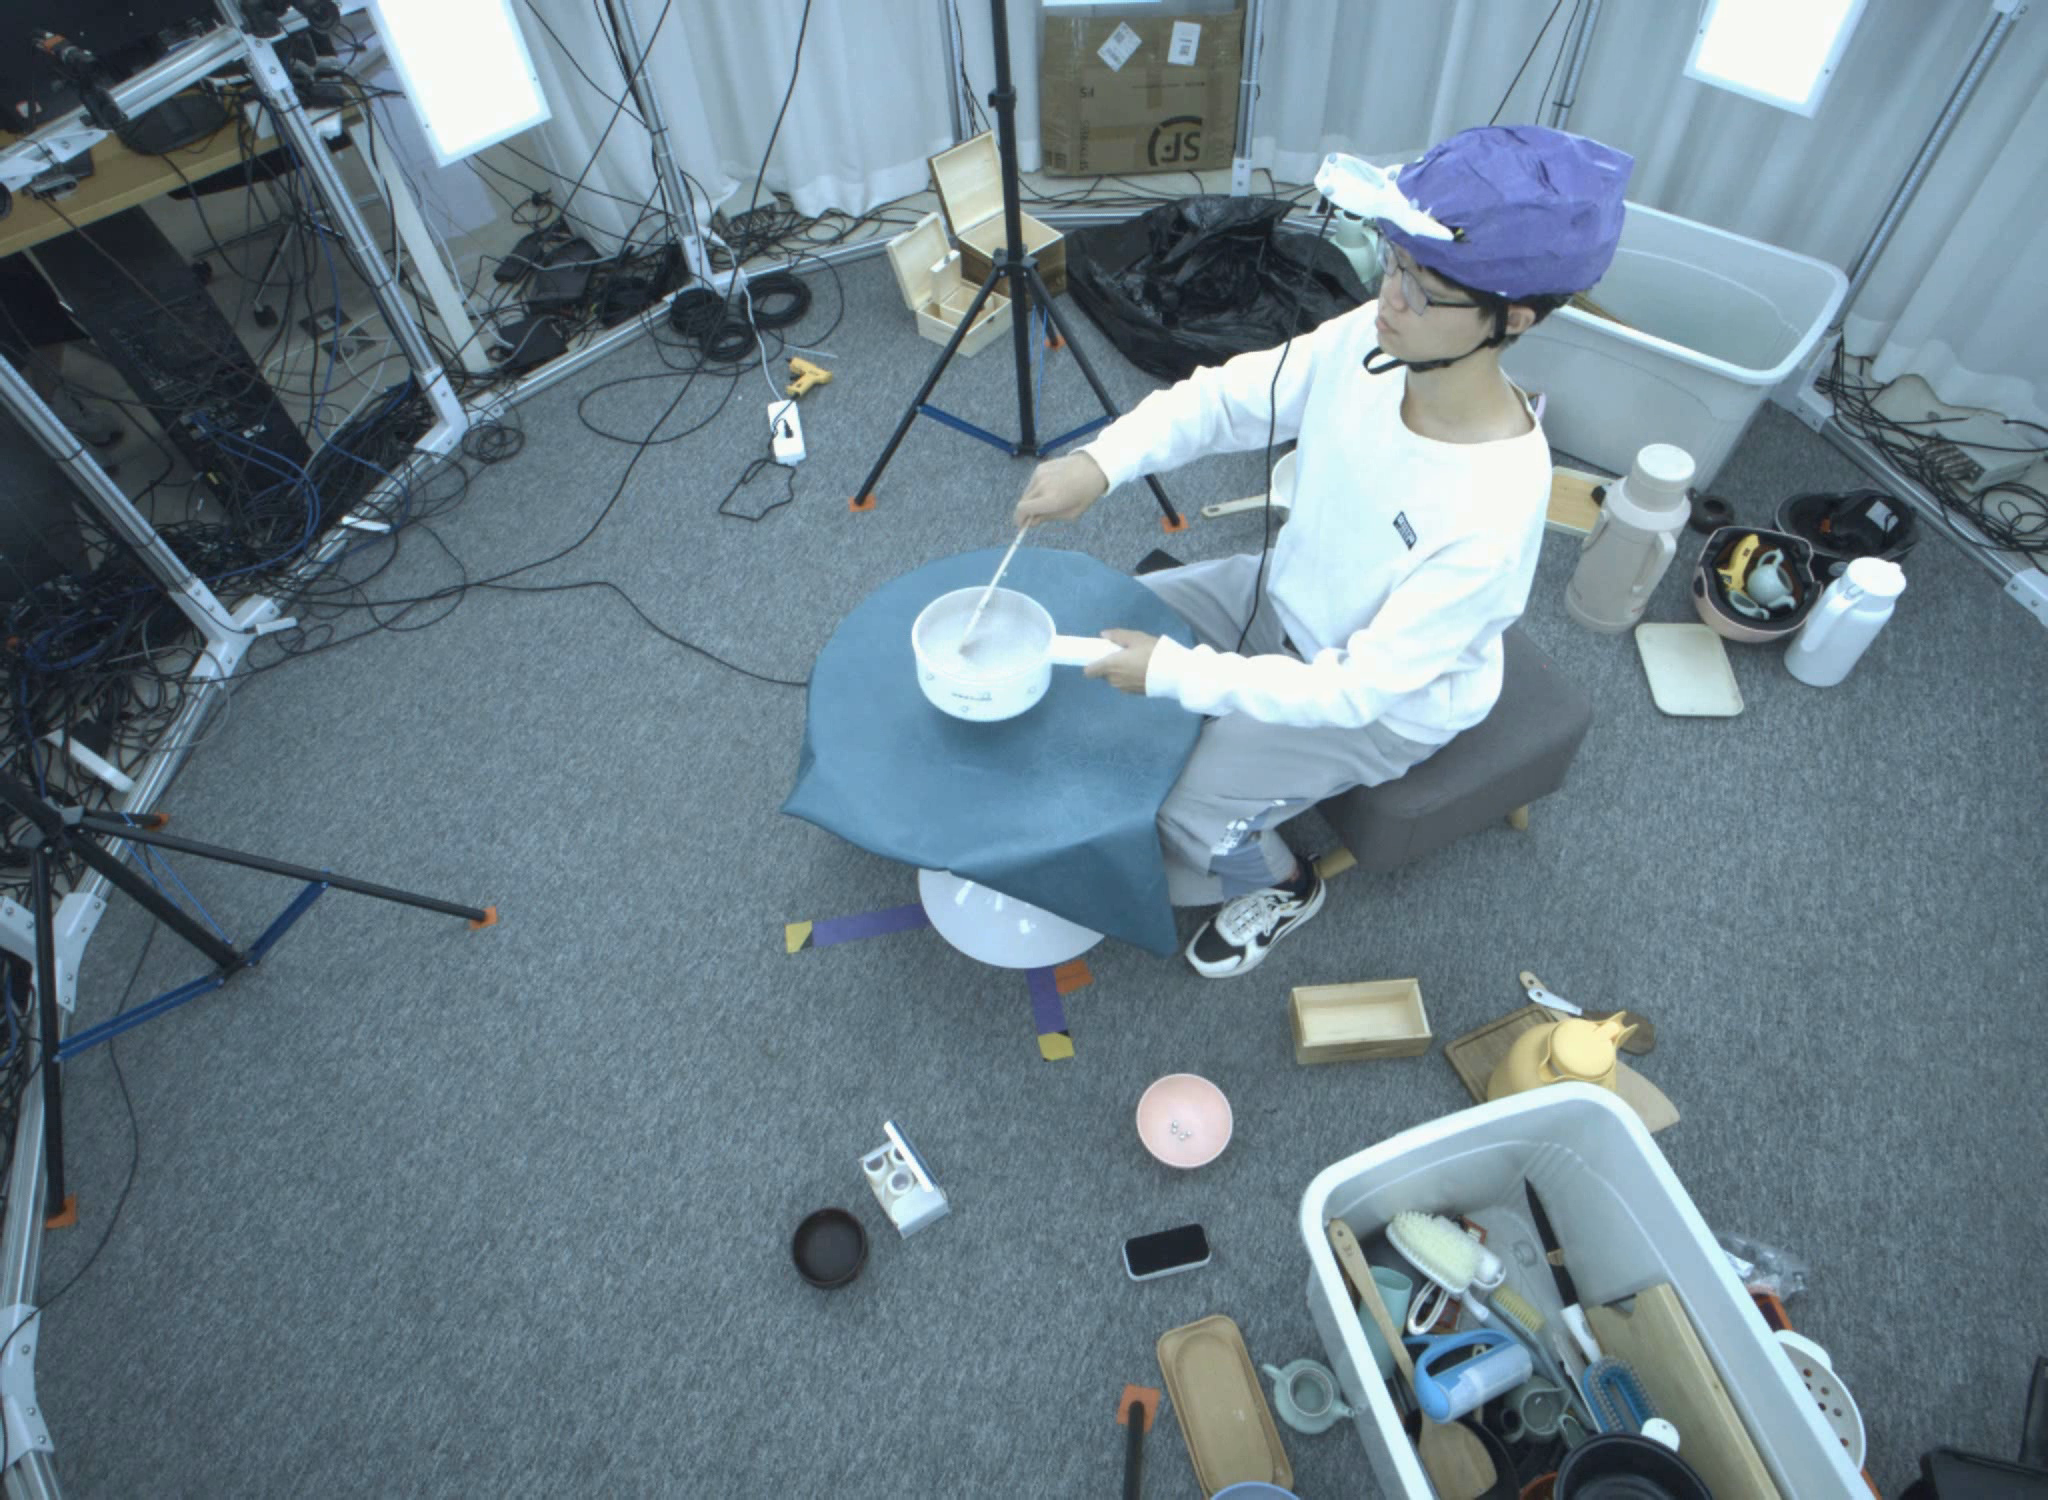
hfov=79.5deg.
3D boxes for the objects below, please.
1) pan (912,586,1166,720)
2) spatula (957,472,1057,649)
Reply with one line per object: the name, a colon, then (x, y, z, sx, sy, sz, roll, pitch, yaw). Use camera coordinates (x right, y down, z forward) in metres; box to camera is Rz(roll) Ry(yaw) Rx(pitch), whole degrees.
pan: (0.020, -0.126, 1.745, 0.354, 0.103, 0.199, 6, 47, 2)
spatula: (-0.026, -0.276, 1.753, 0.011, 0.072, 0.293, 29, 84, -5)
